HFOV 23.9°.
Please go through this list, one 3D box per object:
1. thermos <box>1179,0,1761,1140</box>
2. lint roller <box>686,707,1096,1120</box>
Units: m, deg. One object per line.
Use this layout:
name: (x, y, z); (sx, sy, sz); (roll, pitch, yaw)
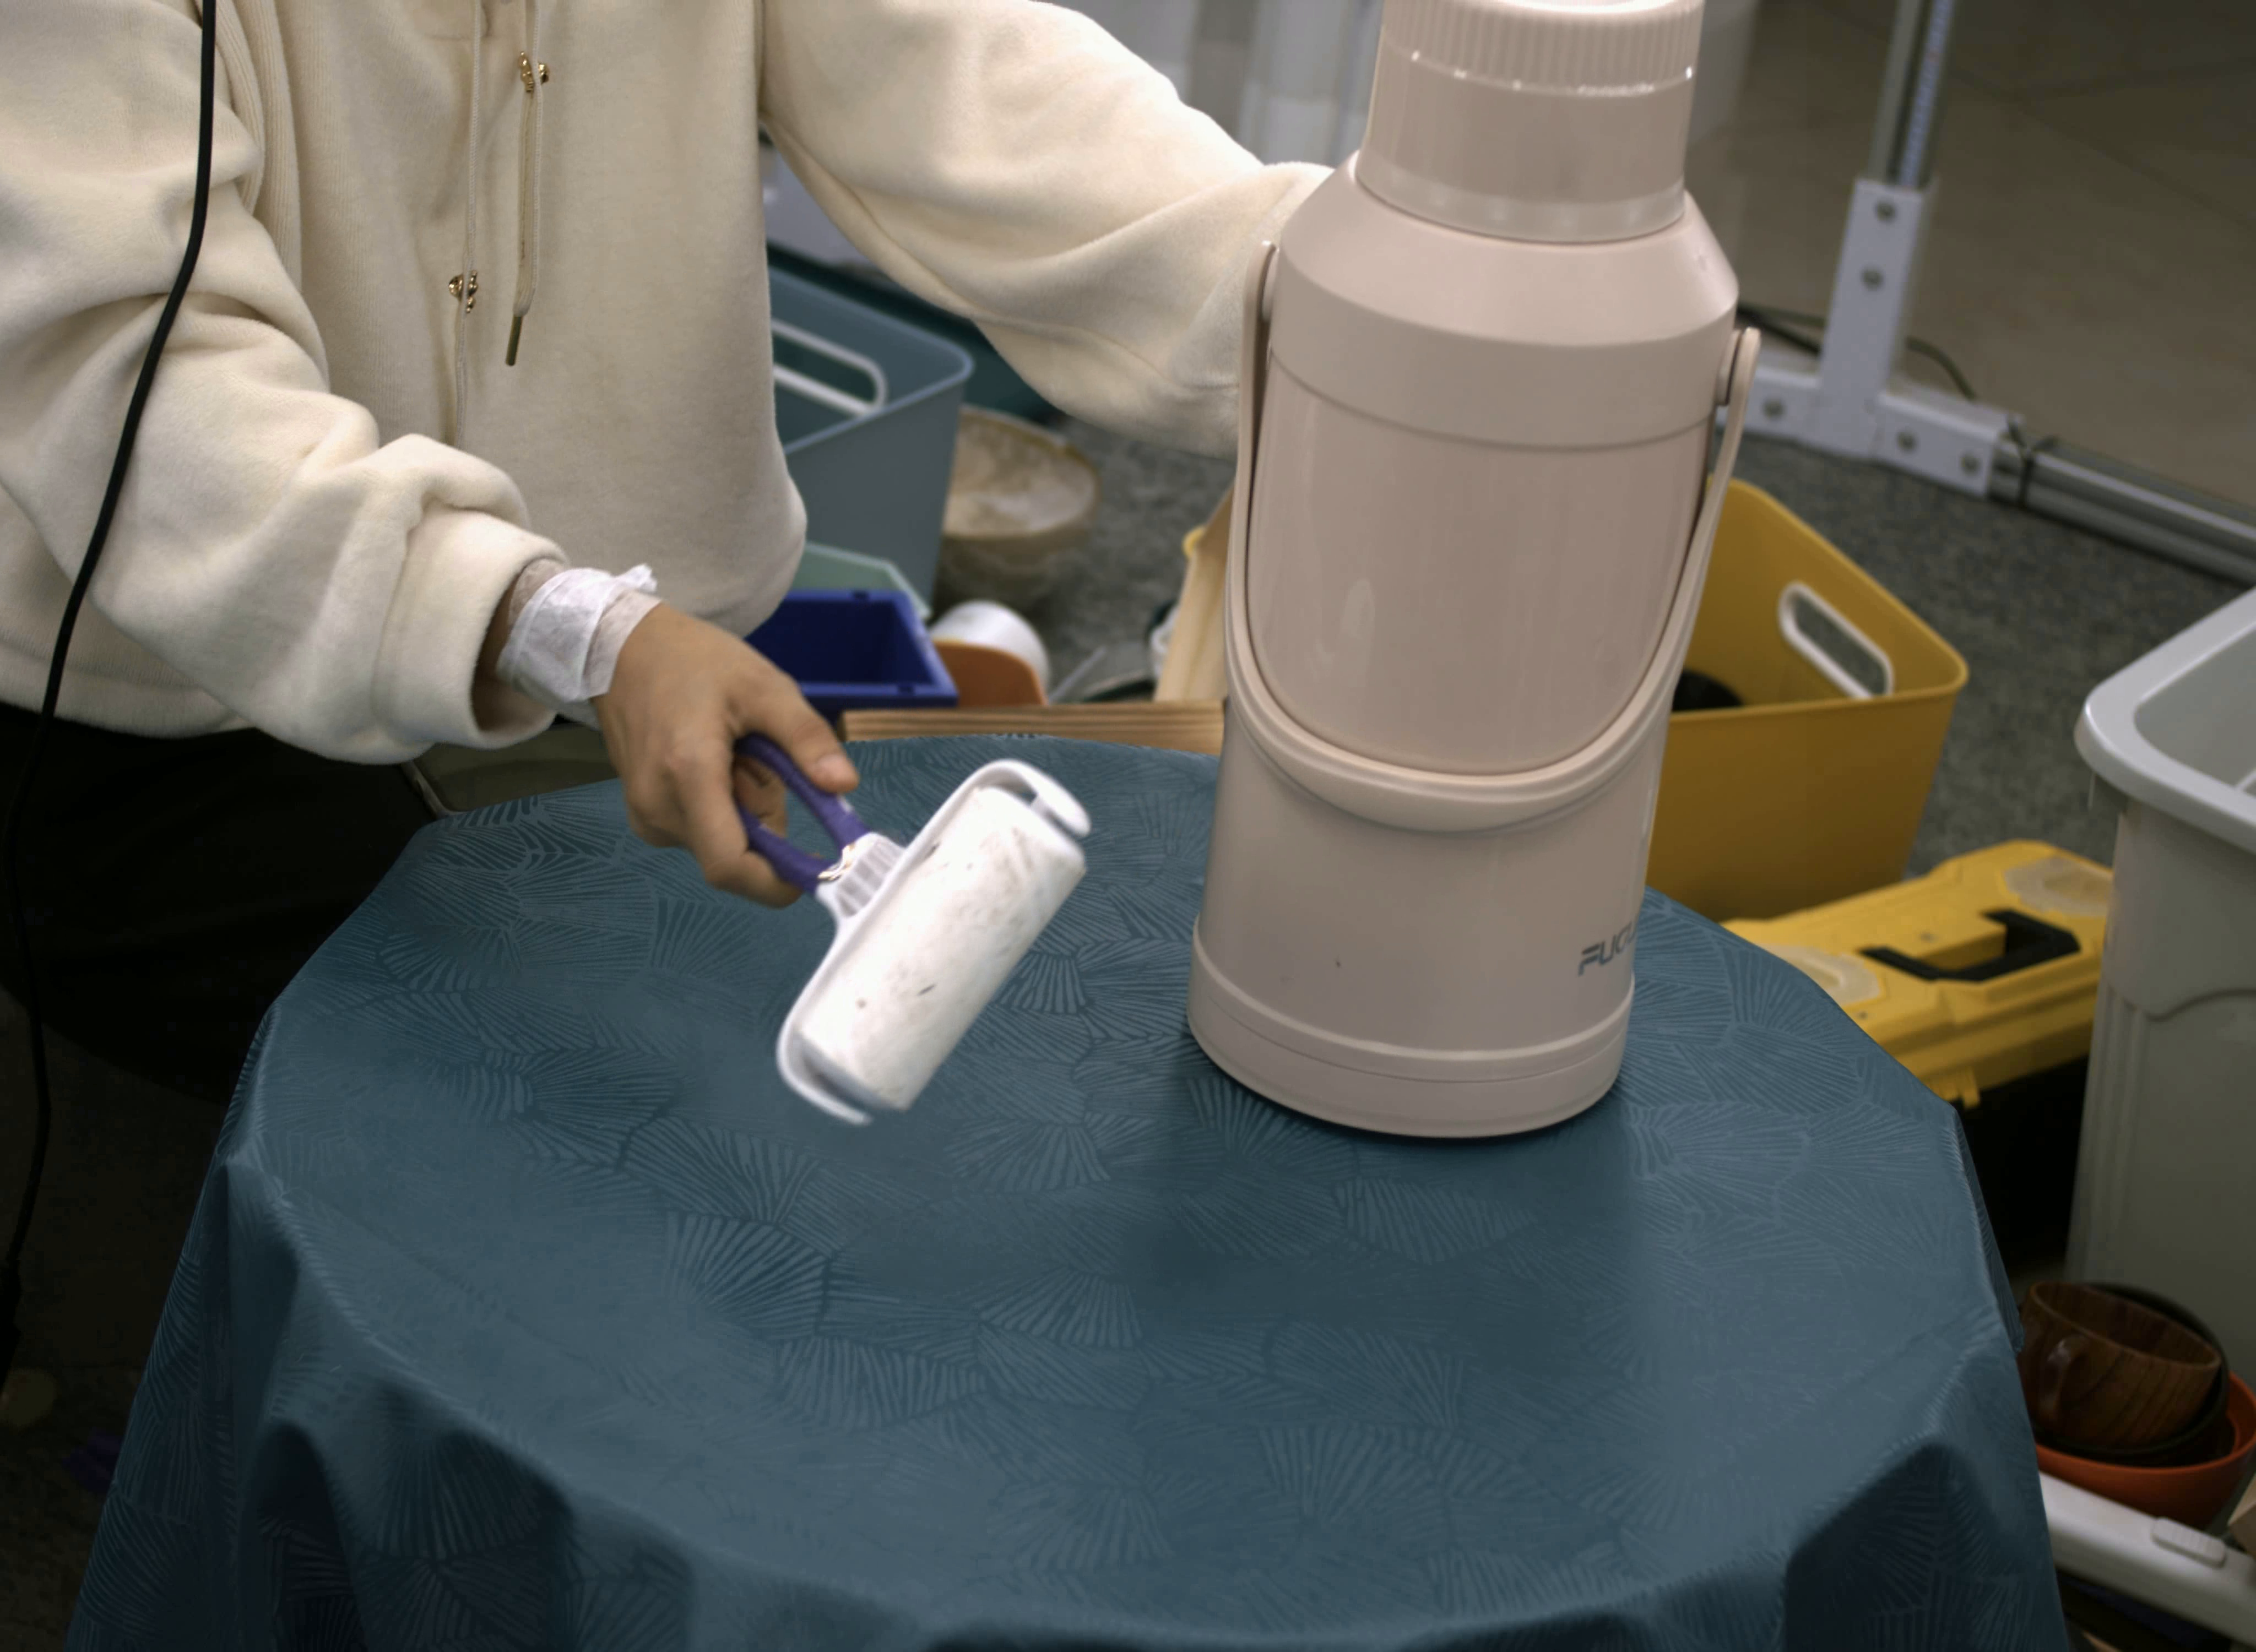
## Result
thermos: (0.122, -0.108, 1.845); (0.175, 0.405, 0.207); (11, 25, 11)
lint roller: (-0.099, 0.003, 1.779); (0.182, 0.133, 0.050); (40, 5, 35)
